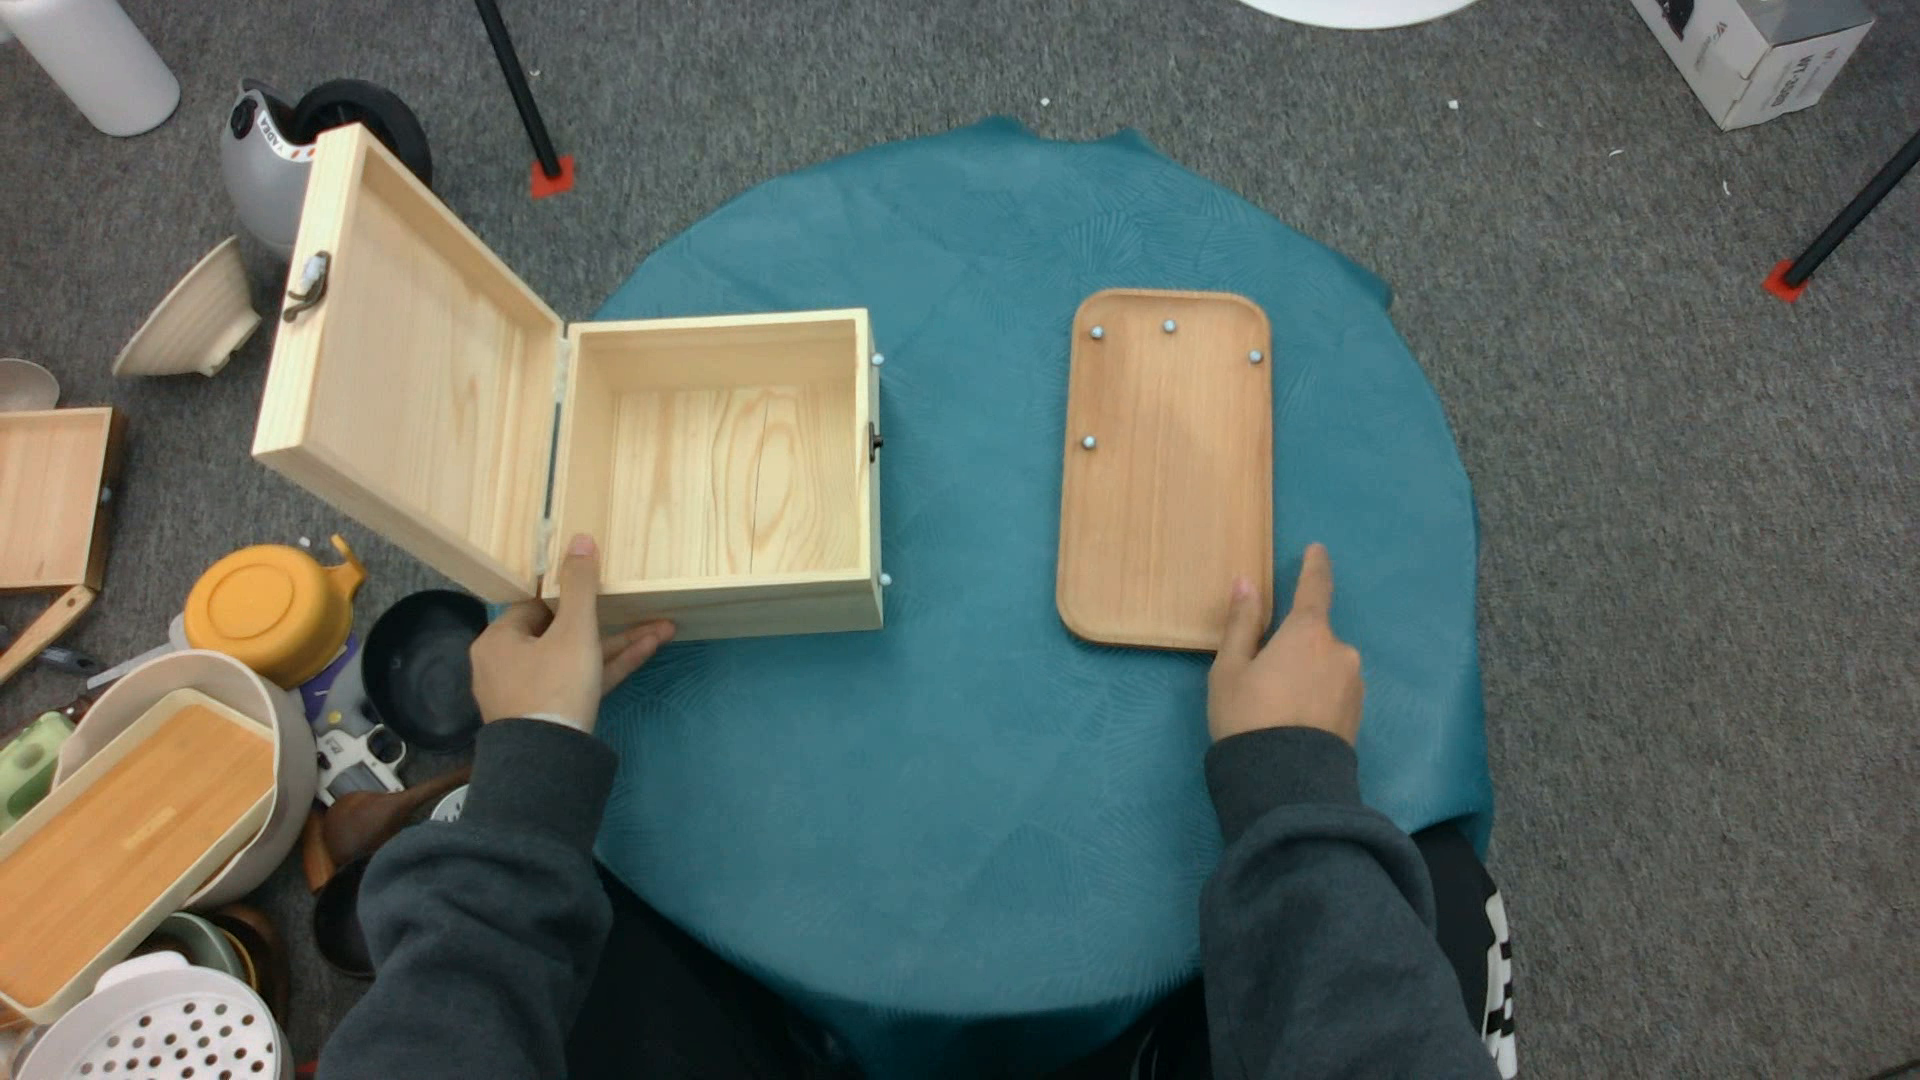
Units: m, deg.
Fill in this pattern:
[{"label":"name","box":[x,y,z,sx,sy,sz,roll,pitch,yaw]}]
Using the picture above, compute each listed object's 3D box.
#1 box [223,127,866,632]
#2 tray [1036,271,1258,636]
[{"label":"box","box":[-0.191,-0.079,0.742,0.265,0.252,0.182,-5,67,1]},{"label":"tray","box":[0.116,-0.059,0.848,0.130,0.023,0.251,3,65,6]}]
